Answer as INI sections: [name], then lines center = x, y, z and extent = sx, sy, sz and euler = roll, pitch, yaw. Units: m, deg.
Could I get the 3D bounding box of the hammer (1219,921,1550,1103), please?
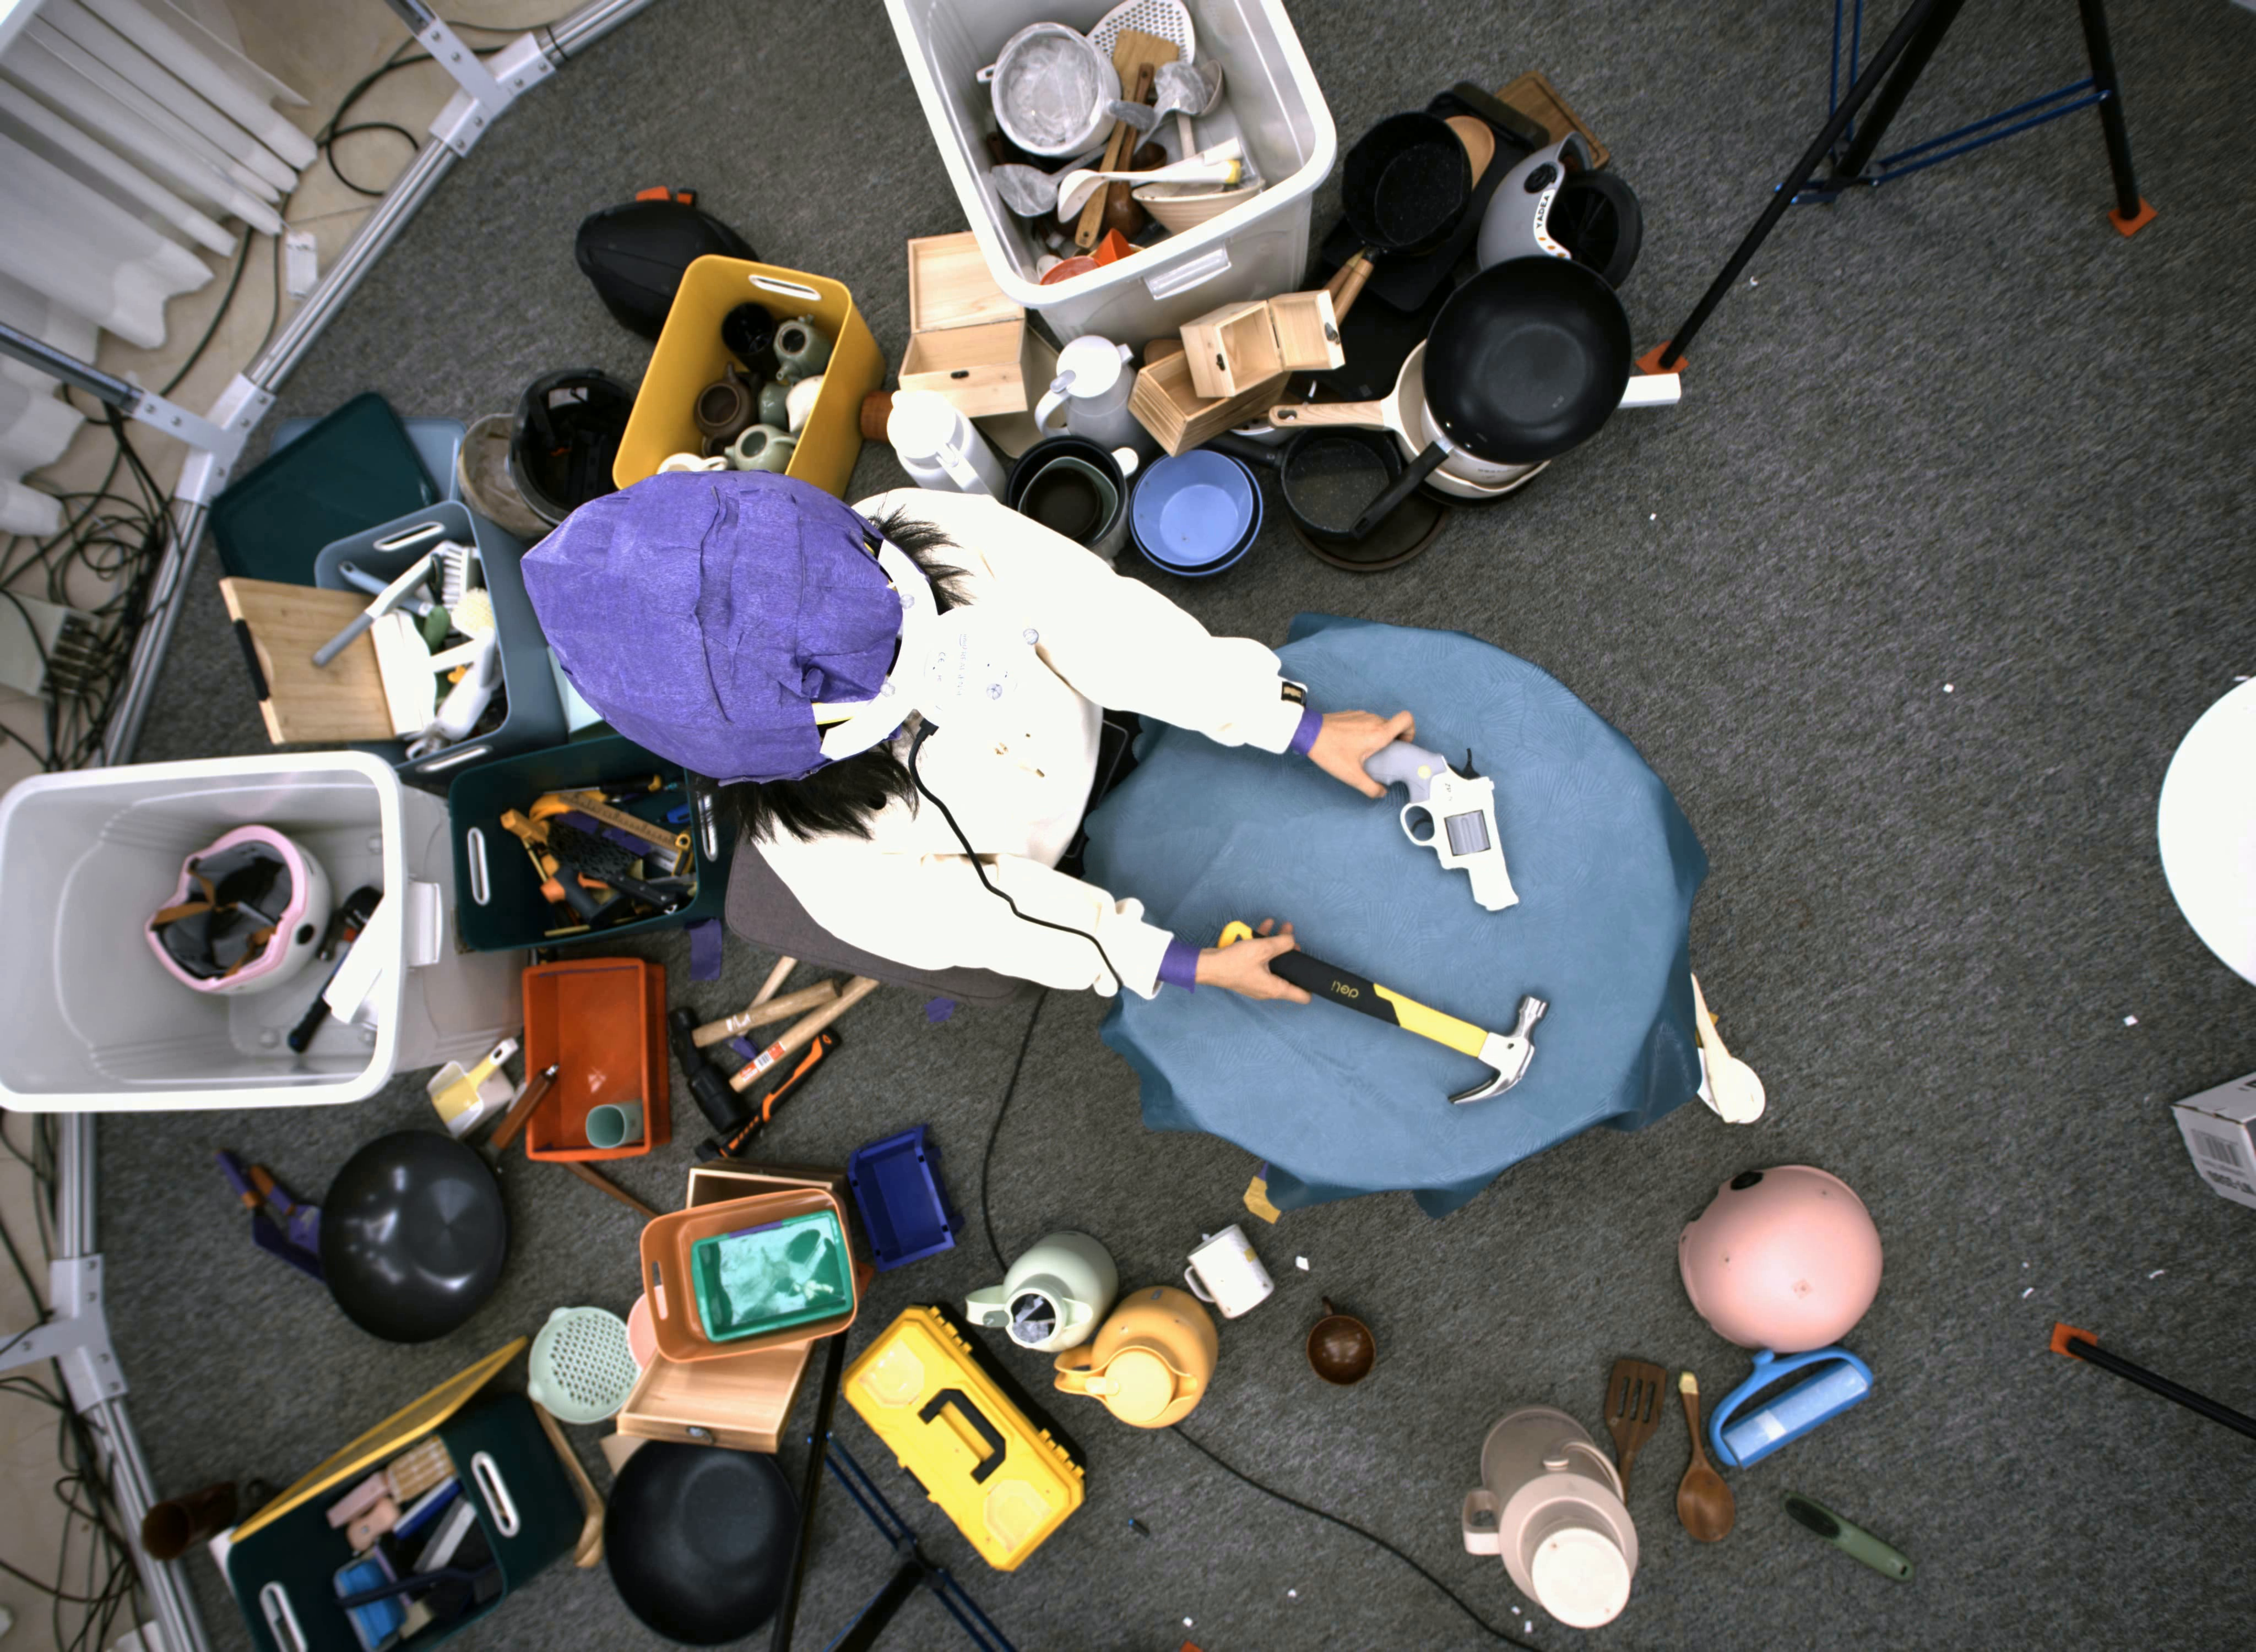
[hammer]
center = 0.253, 0.177, 1.420
extent = 0.338, 0.032, 0.132
euler = 22, 94, 3

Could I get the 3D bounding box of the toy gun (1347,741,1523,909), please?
[toy gun]
center = 0.316, -0.005, 1.430
extent = 0.143, 0.038, 0.209
euler = -15, 94, 15
